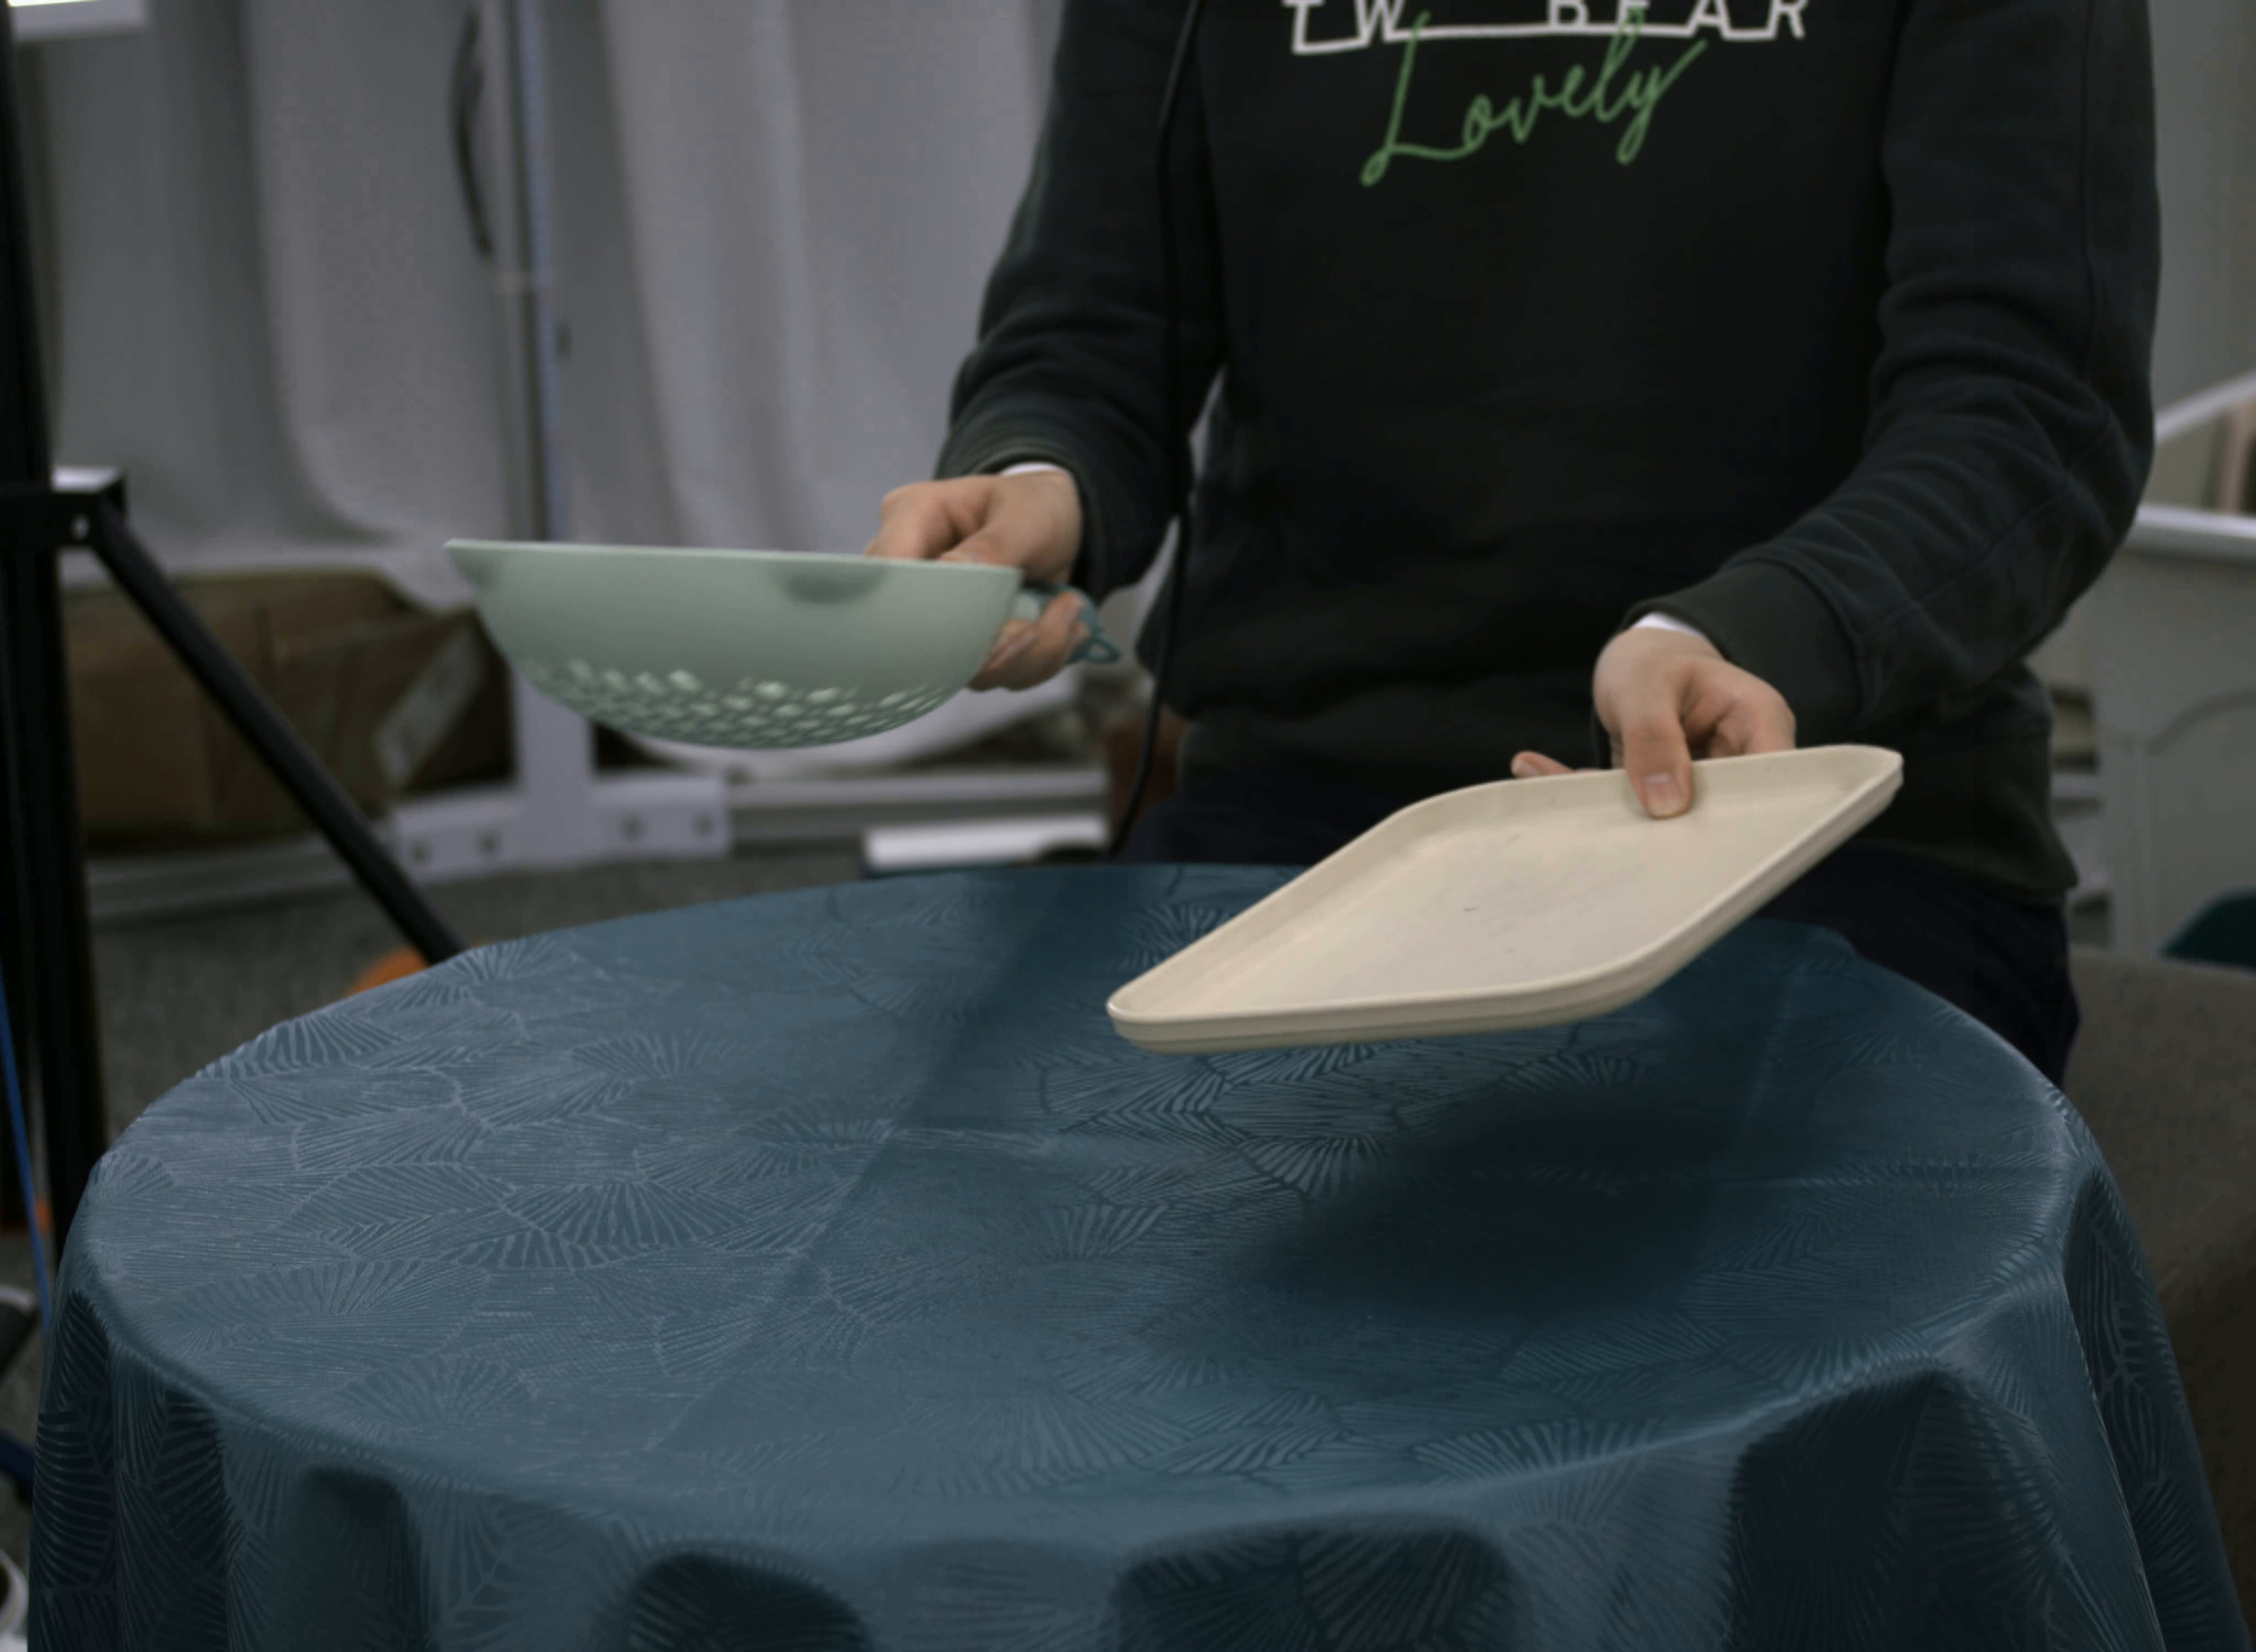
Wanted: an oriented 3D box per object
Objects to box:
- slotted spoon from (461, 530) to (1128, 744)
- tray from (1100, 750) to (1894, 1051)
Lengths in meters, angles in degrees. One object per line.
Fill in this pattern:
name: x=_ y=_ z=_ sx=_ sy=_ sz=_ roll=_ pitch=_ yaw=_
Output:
slotted spoon: x=-0.075 y=-0.068 z=1.701 sx=0.171 sy=0.075 sz=0.353 roll=3 pitch=8 yaw=23
tray: x=0.110 y=0.022 z=1.523 sx=0.174 sy=0.017 sz=0.235 roll=-6 pitch=12 yaw=32
